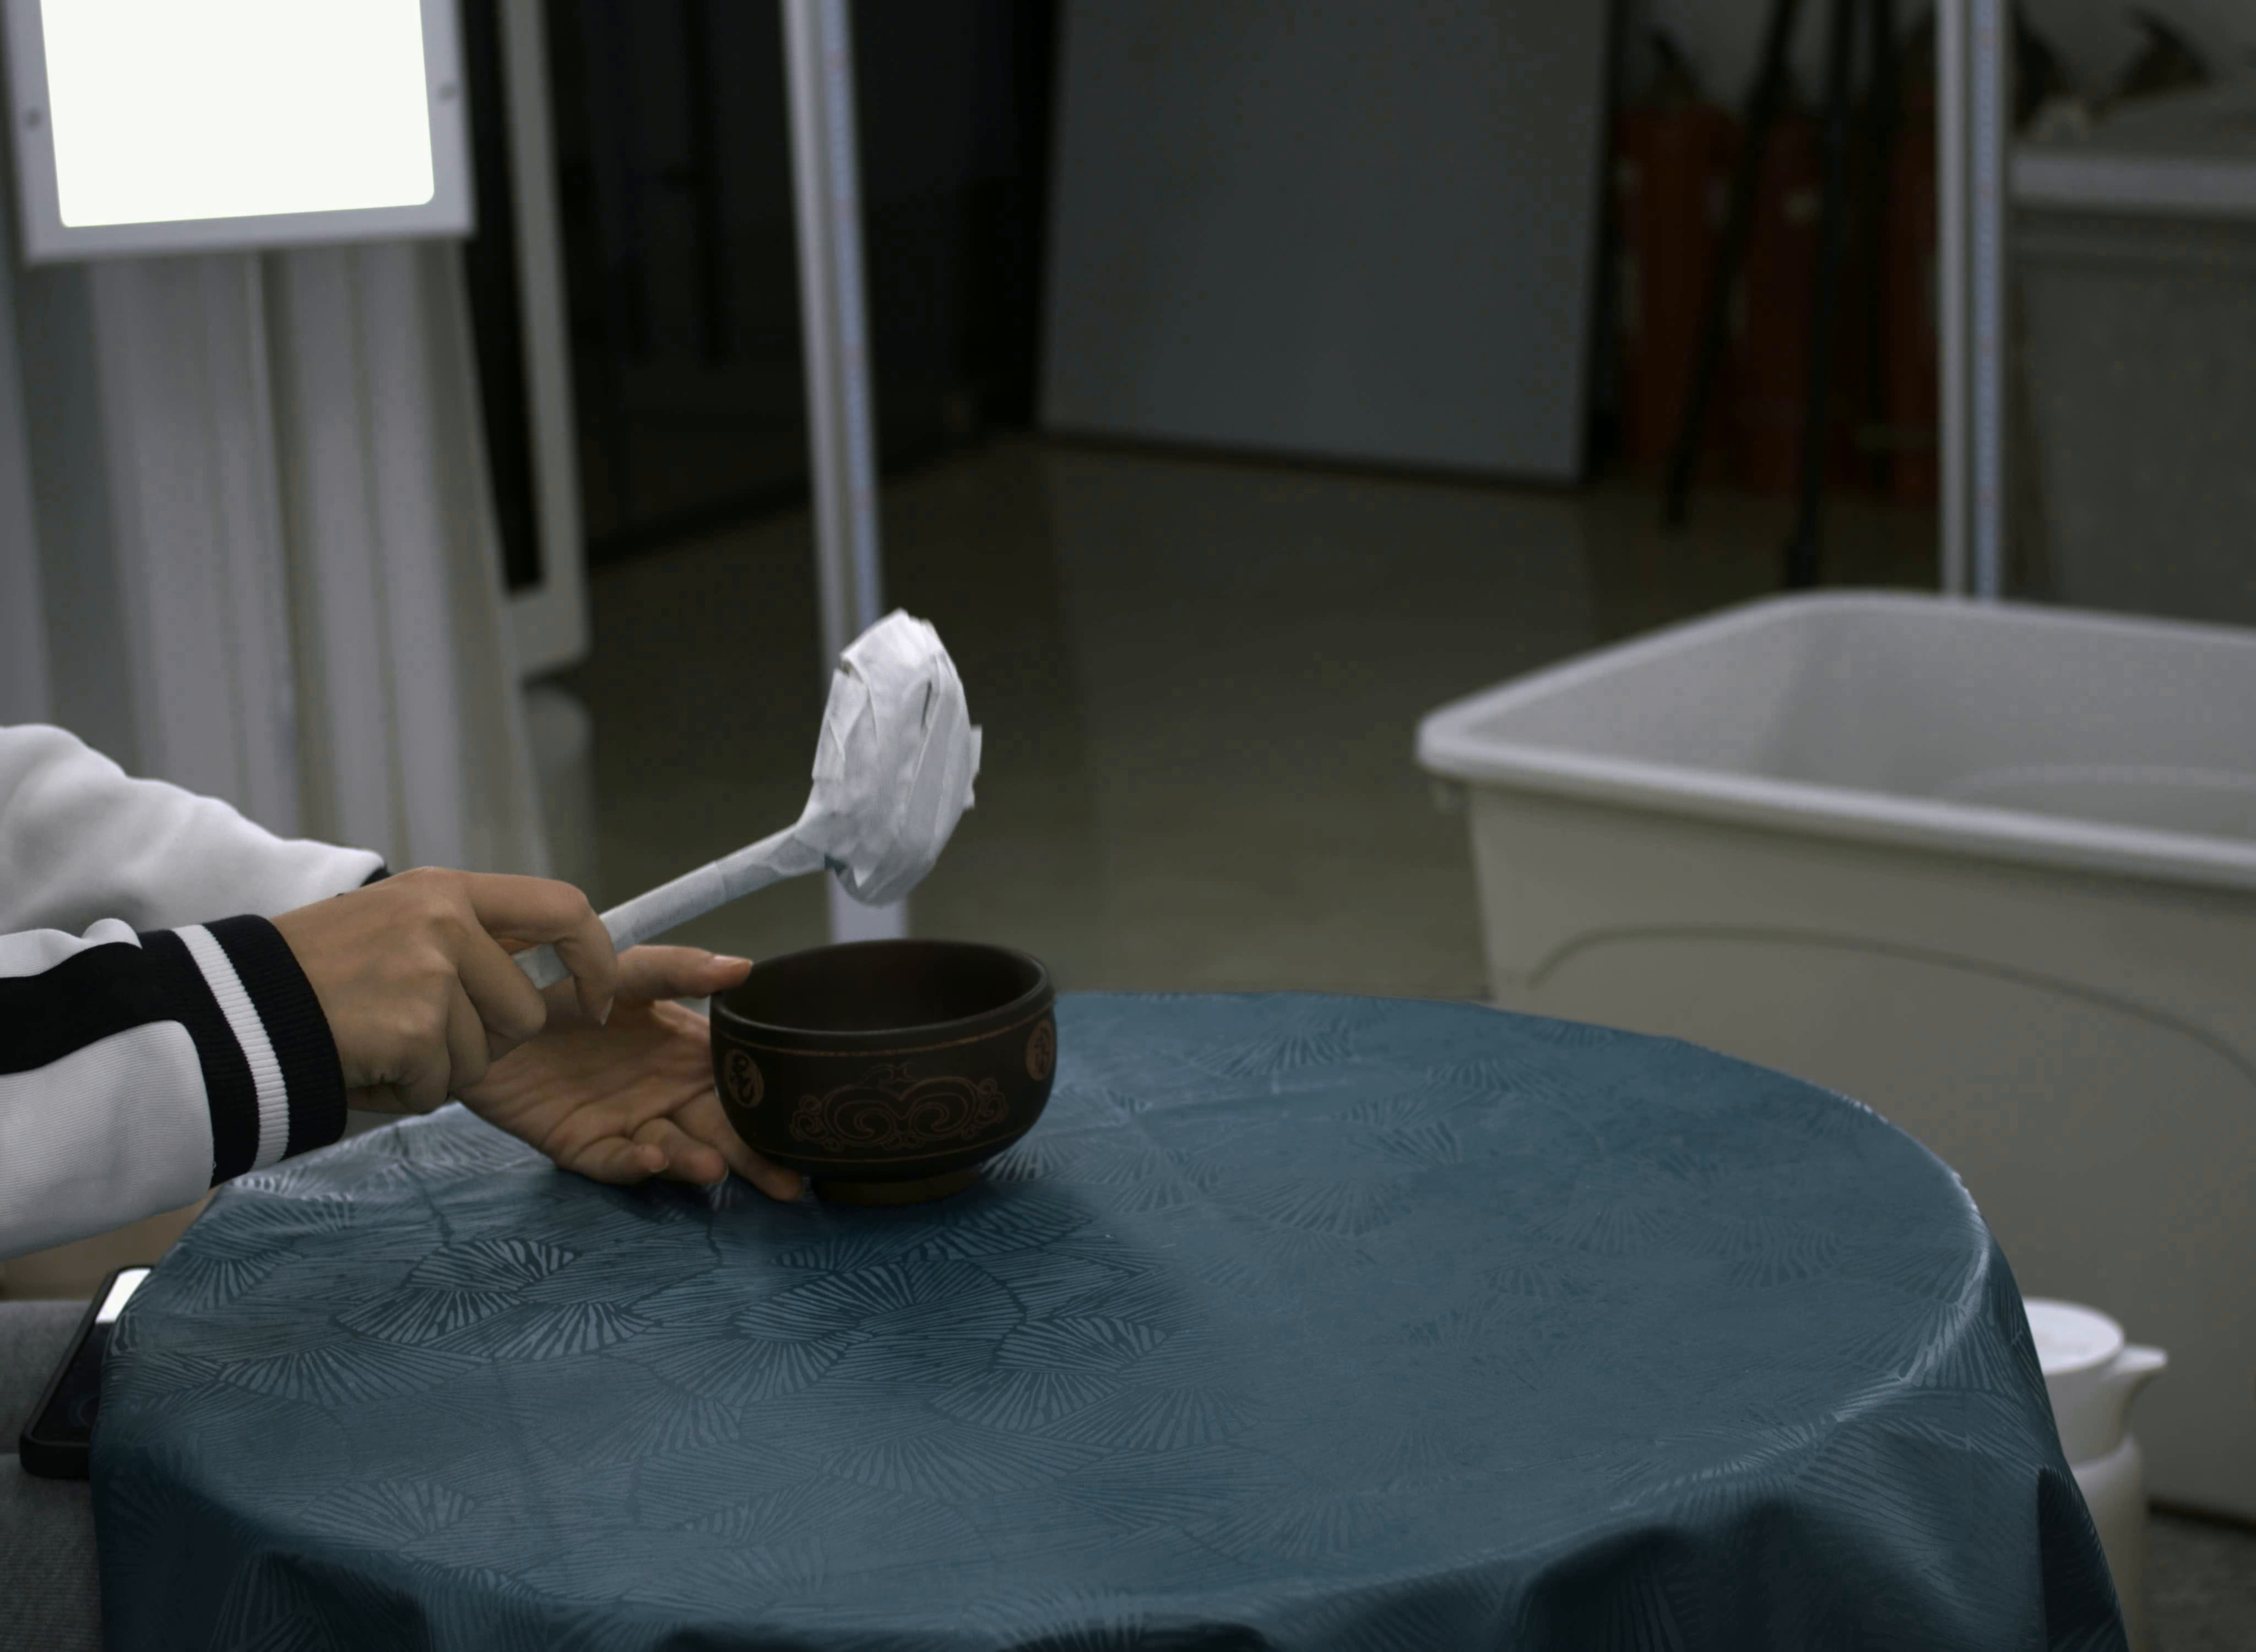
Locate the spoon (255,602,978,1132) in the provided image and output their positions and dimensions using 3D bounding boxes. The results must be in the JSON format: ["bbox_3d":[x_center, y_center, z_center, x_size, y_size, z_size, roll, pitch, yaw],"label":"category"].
[{"bbox_3d":[-0.156,0.023,1.690,0.273,0.101,0.060,-28,29,-17],"label":"spoon"}]

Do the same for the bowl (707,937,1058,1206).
[{"bbox_3d":[-0.080,0.085,1.789,0.116,0.070,0.118,-4,13,0],"label":"bowl"}]
